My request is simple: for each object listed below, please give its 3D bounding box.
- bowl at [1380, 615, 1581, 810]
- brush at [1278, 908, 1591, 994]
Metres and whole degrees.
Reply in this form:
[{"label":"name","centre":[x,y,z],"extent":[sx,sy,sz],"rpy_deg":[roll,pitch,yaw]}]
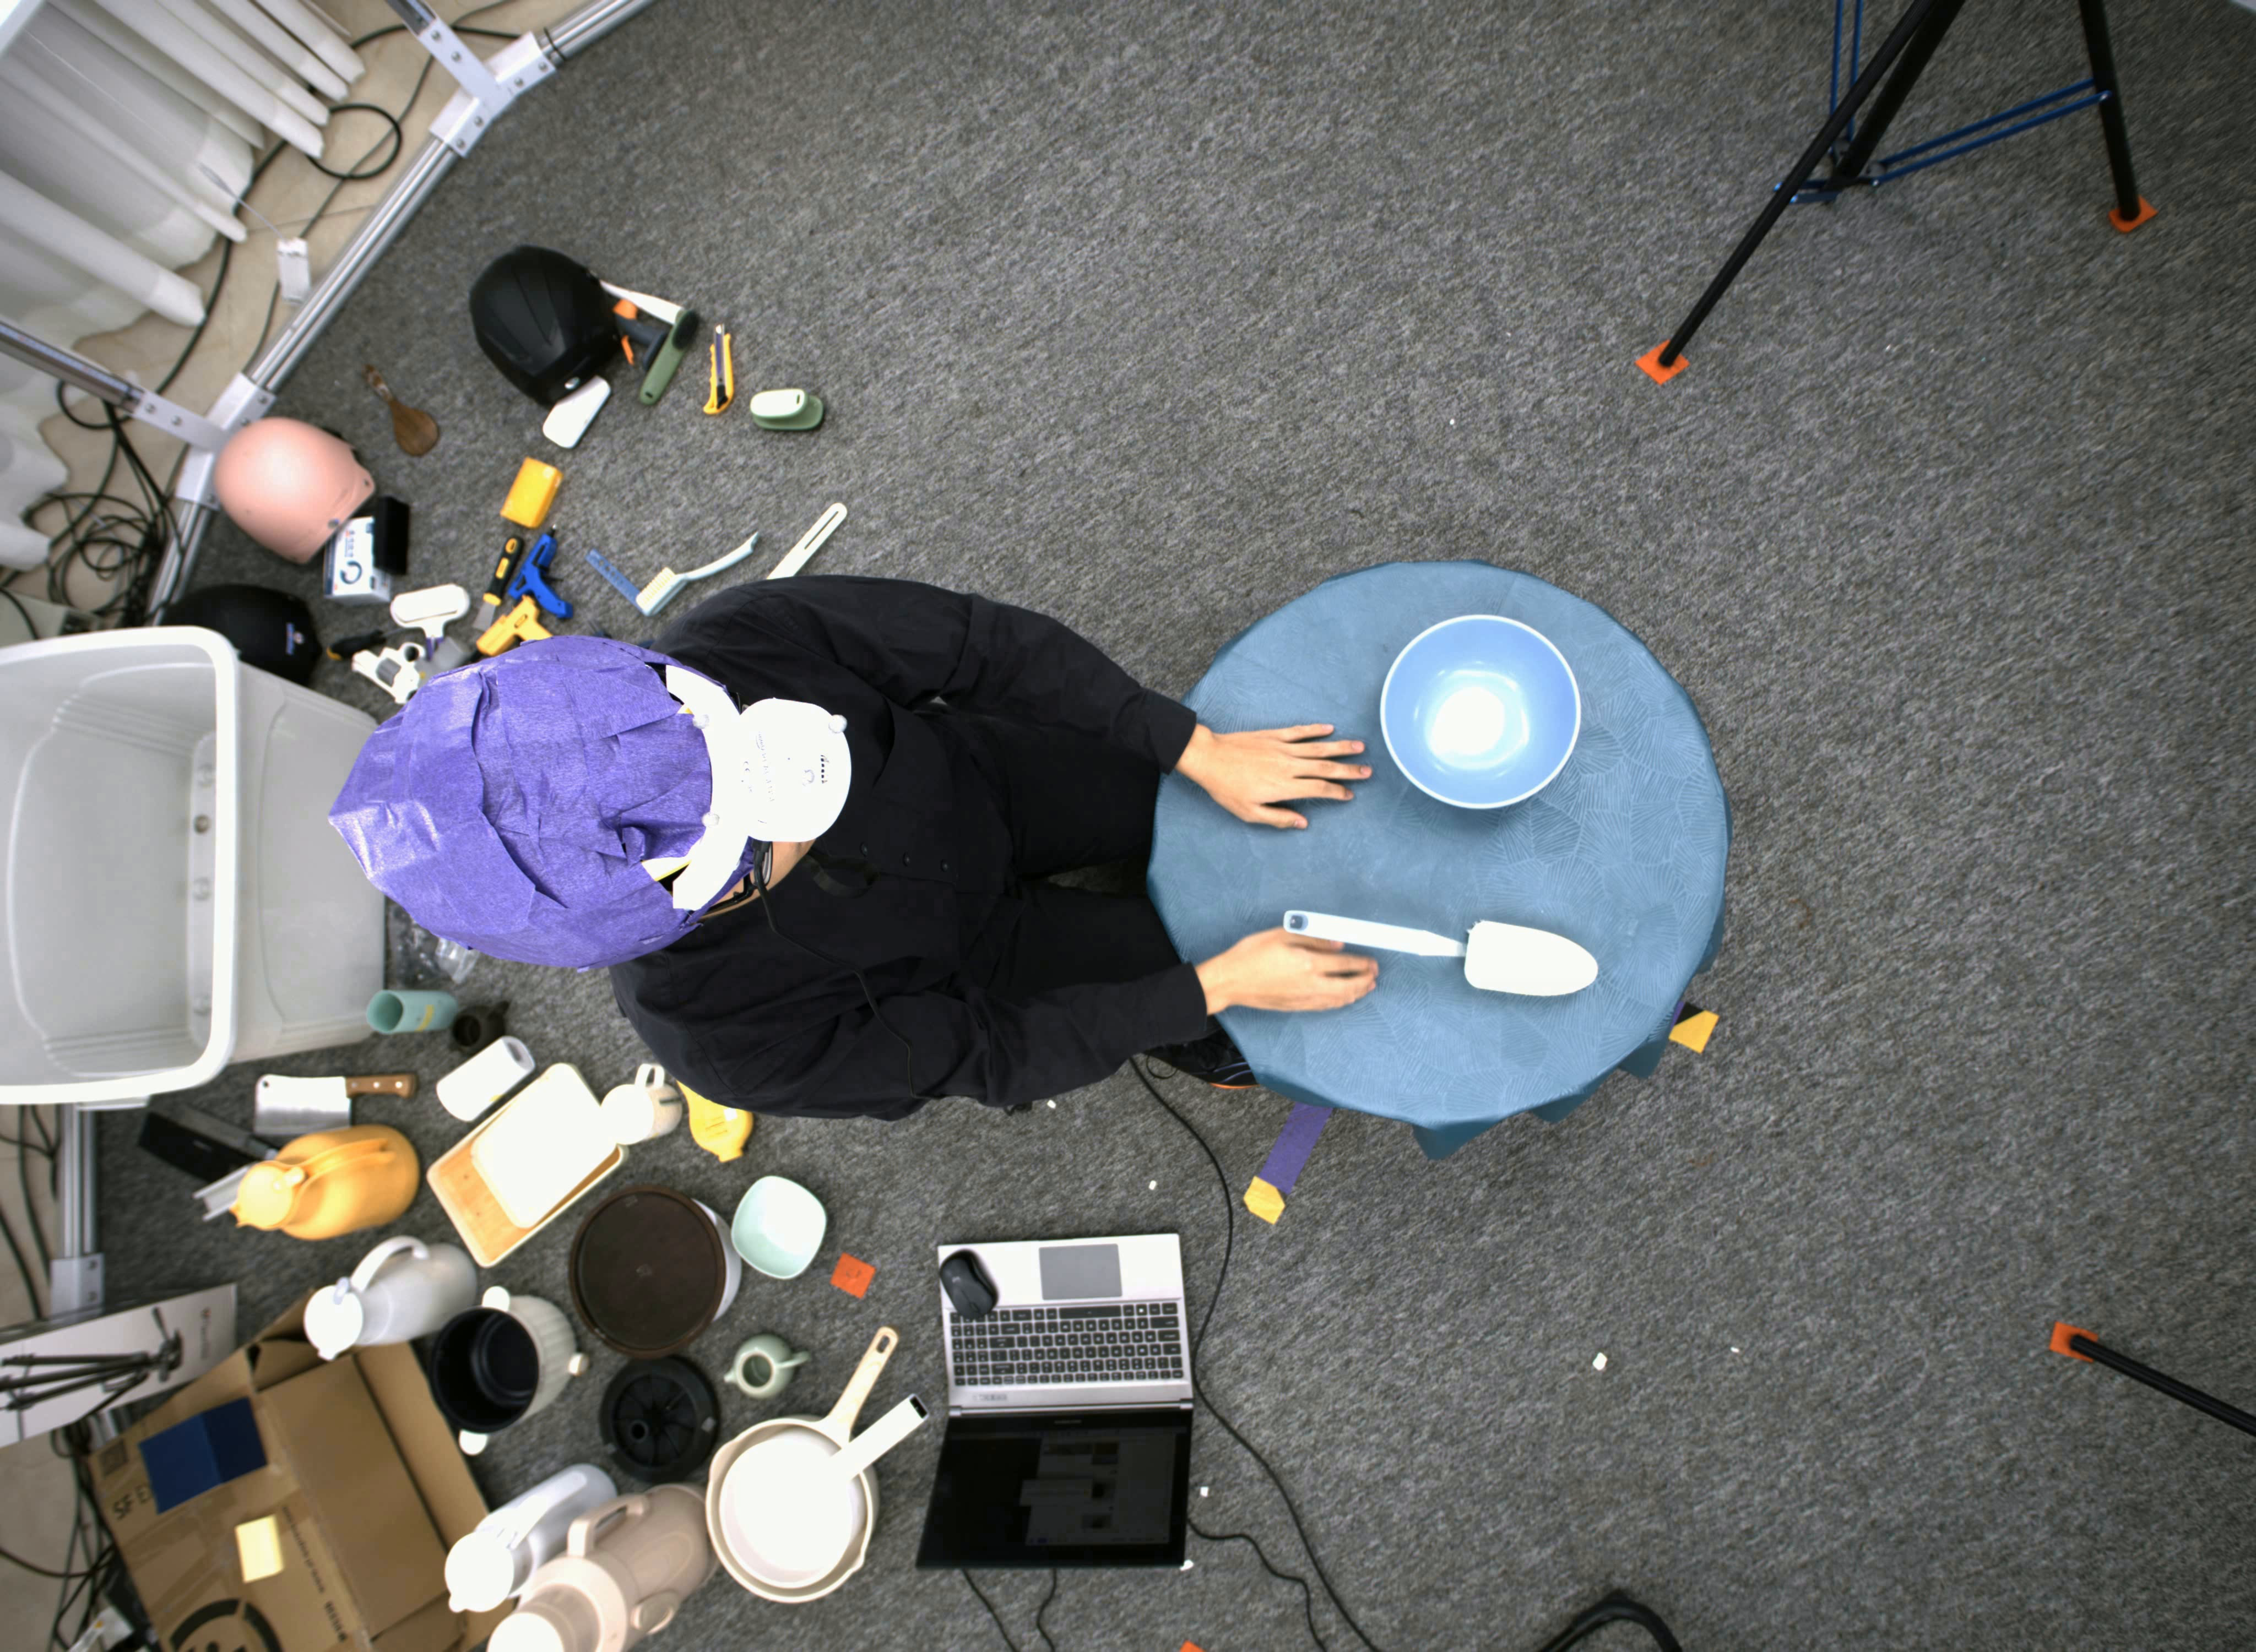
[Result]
[{"label":"bowl","centre":[0.357,-0.111,1.407],"extent":[0.197,0.095,0.196],"rpy_deg":[-1,87,10]},{"label":"brush","centre":[0.309,0.115,1.407],"extent":[0.326,0.087,0.081],"rpy_deg":[10,50,-1]}]
